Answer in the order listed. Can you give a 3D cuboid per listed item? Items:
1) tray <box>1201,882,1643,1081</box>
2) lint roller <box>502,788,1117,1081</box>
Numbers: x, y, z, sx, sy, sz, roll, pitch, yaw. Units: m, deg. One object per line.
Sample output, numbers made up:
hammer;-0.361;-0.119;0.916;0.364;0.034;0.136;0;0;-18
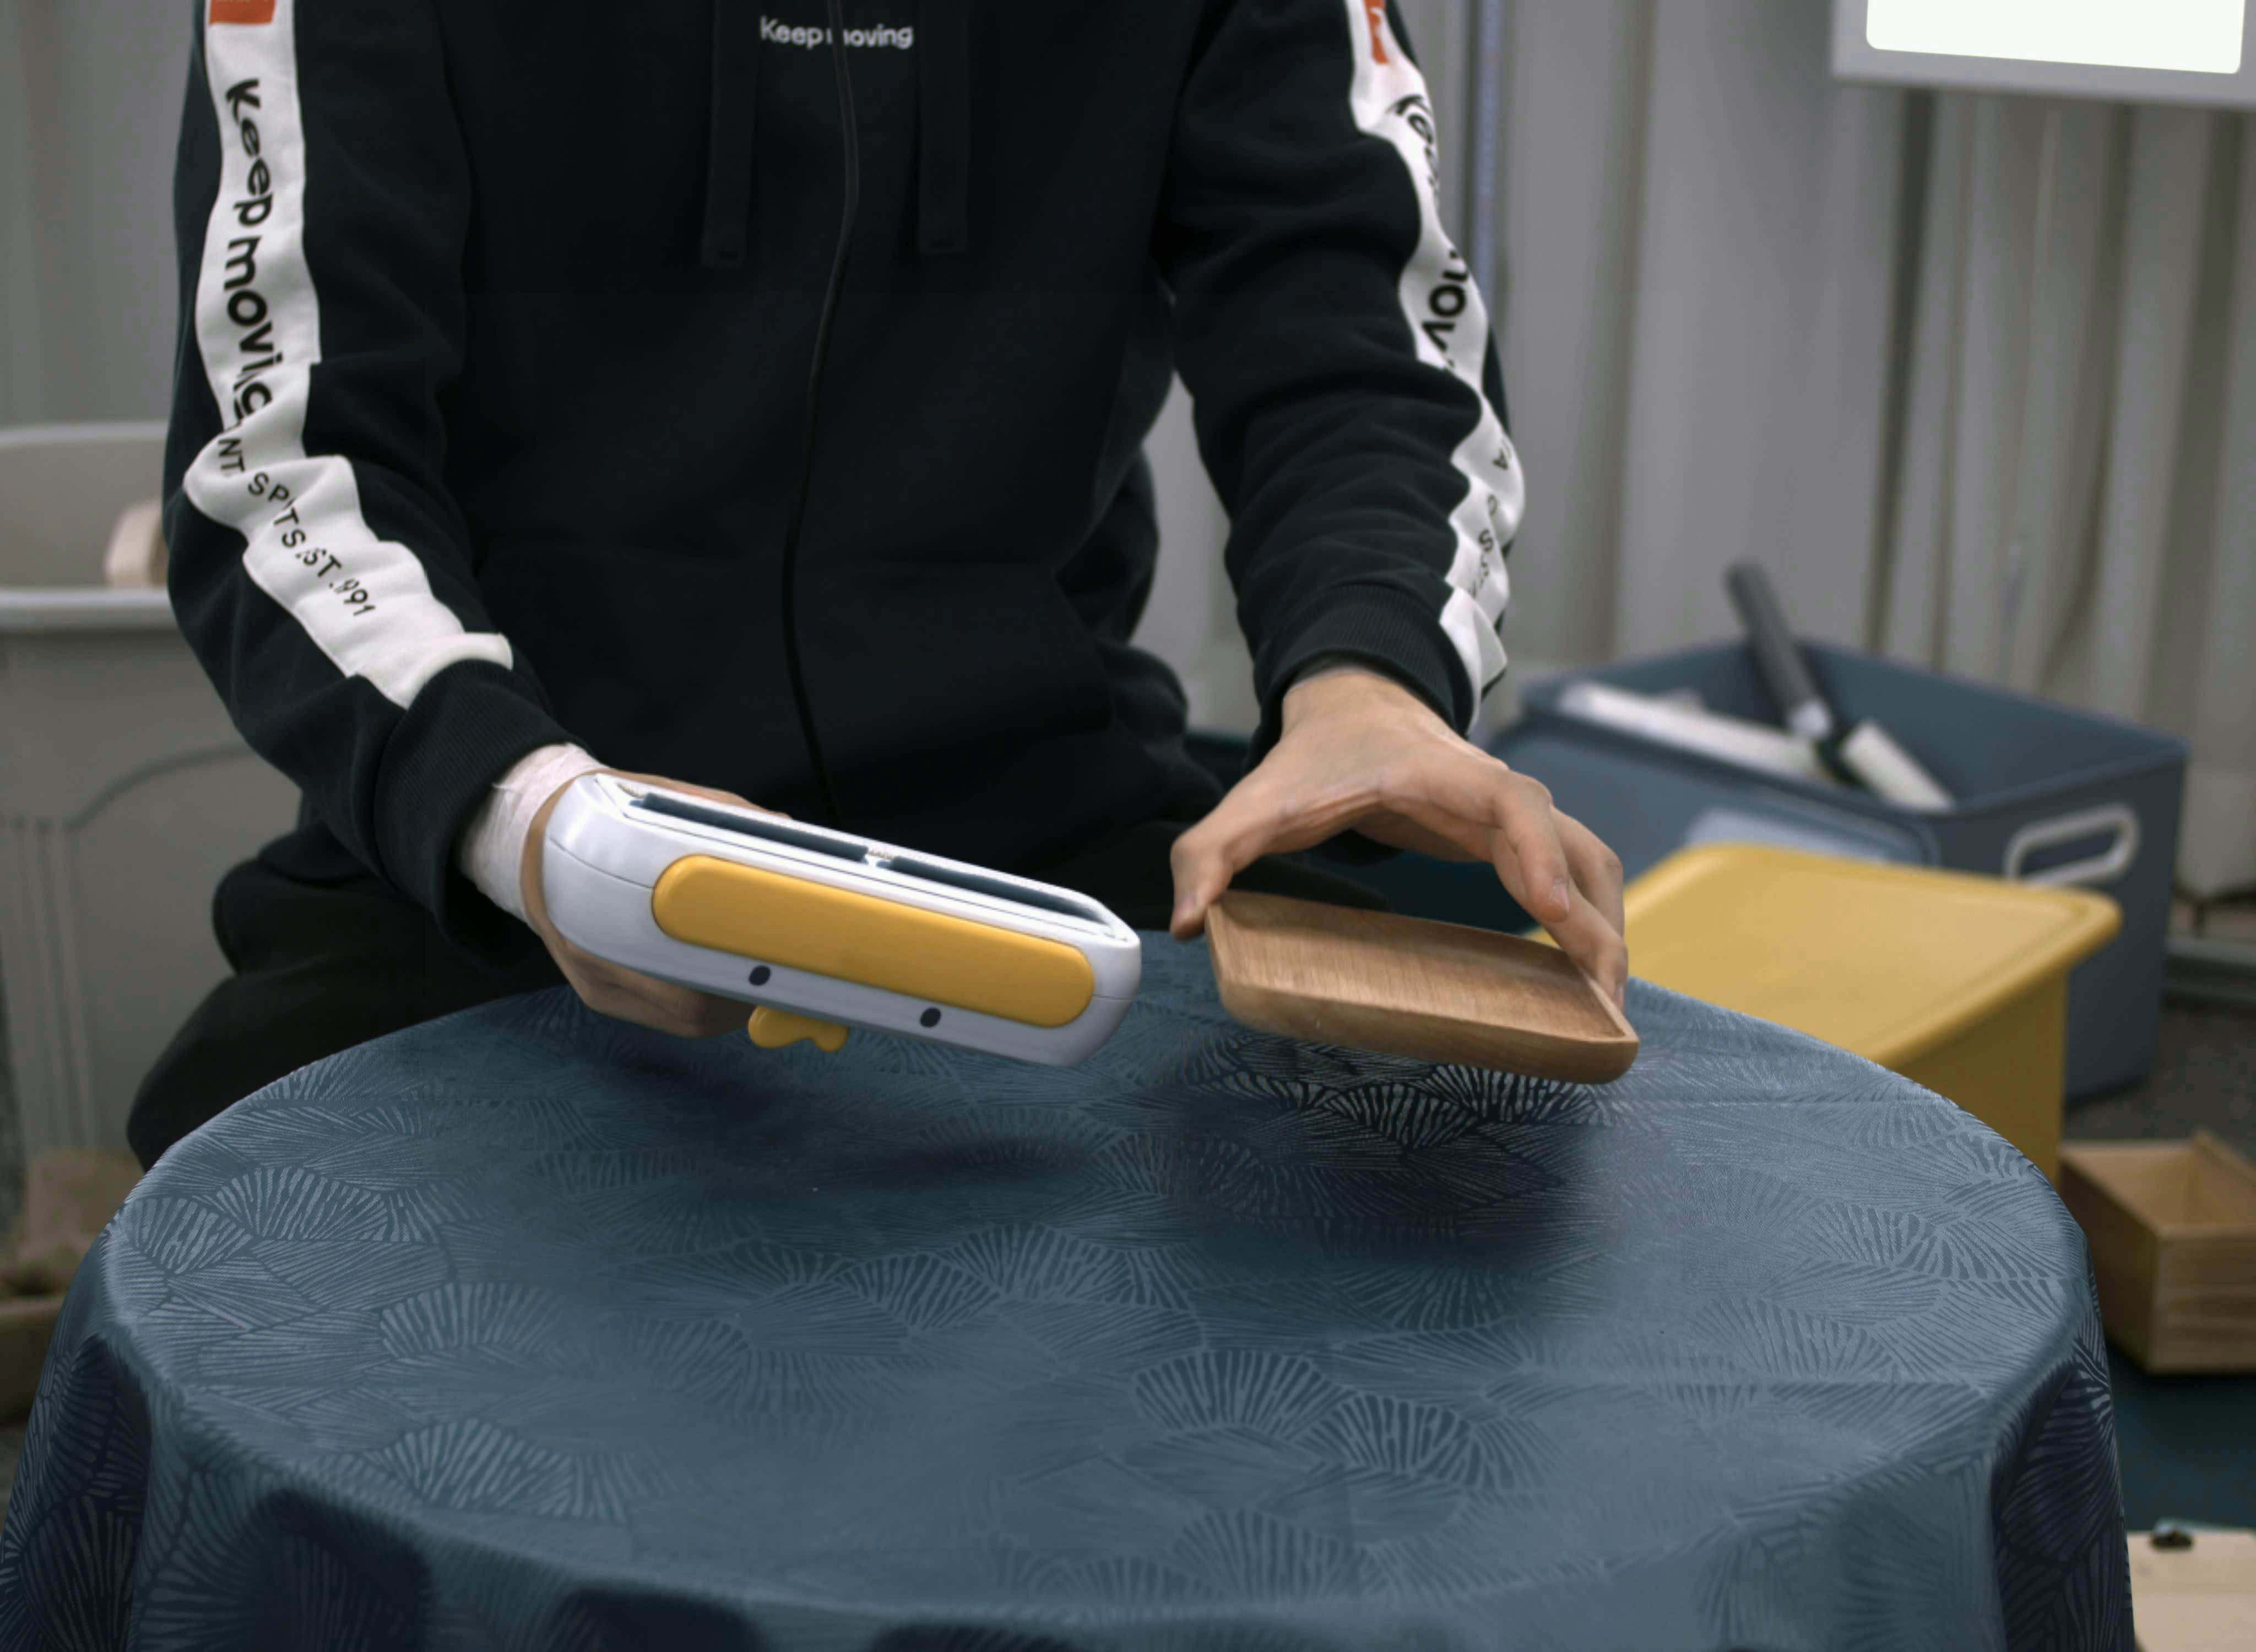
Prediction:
tray;0.087;0.047;1.652;0.130;0.023;0.250;13;5;-1
lint roller;-0.116;0.044;1.661;0.193;0.074;0.191;12;-9;-18
